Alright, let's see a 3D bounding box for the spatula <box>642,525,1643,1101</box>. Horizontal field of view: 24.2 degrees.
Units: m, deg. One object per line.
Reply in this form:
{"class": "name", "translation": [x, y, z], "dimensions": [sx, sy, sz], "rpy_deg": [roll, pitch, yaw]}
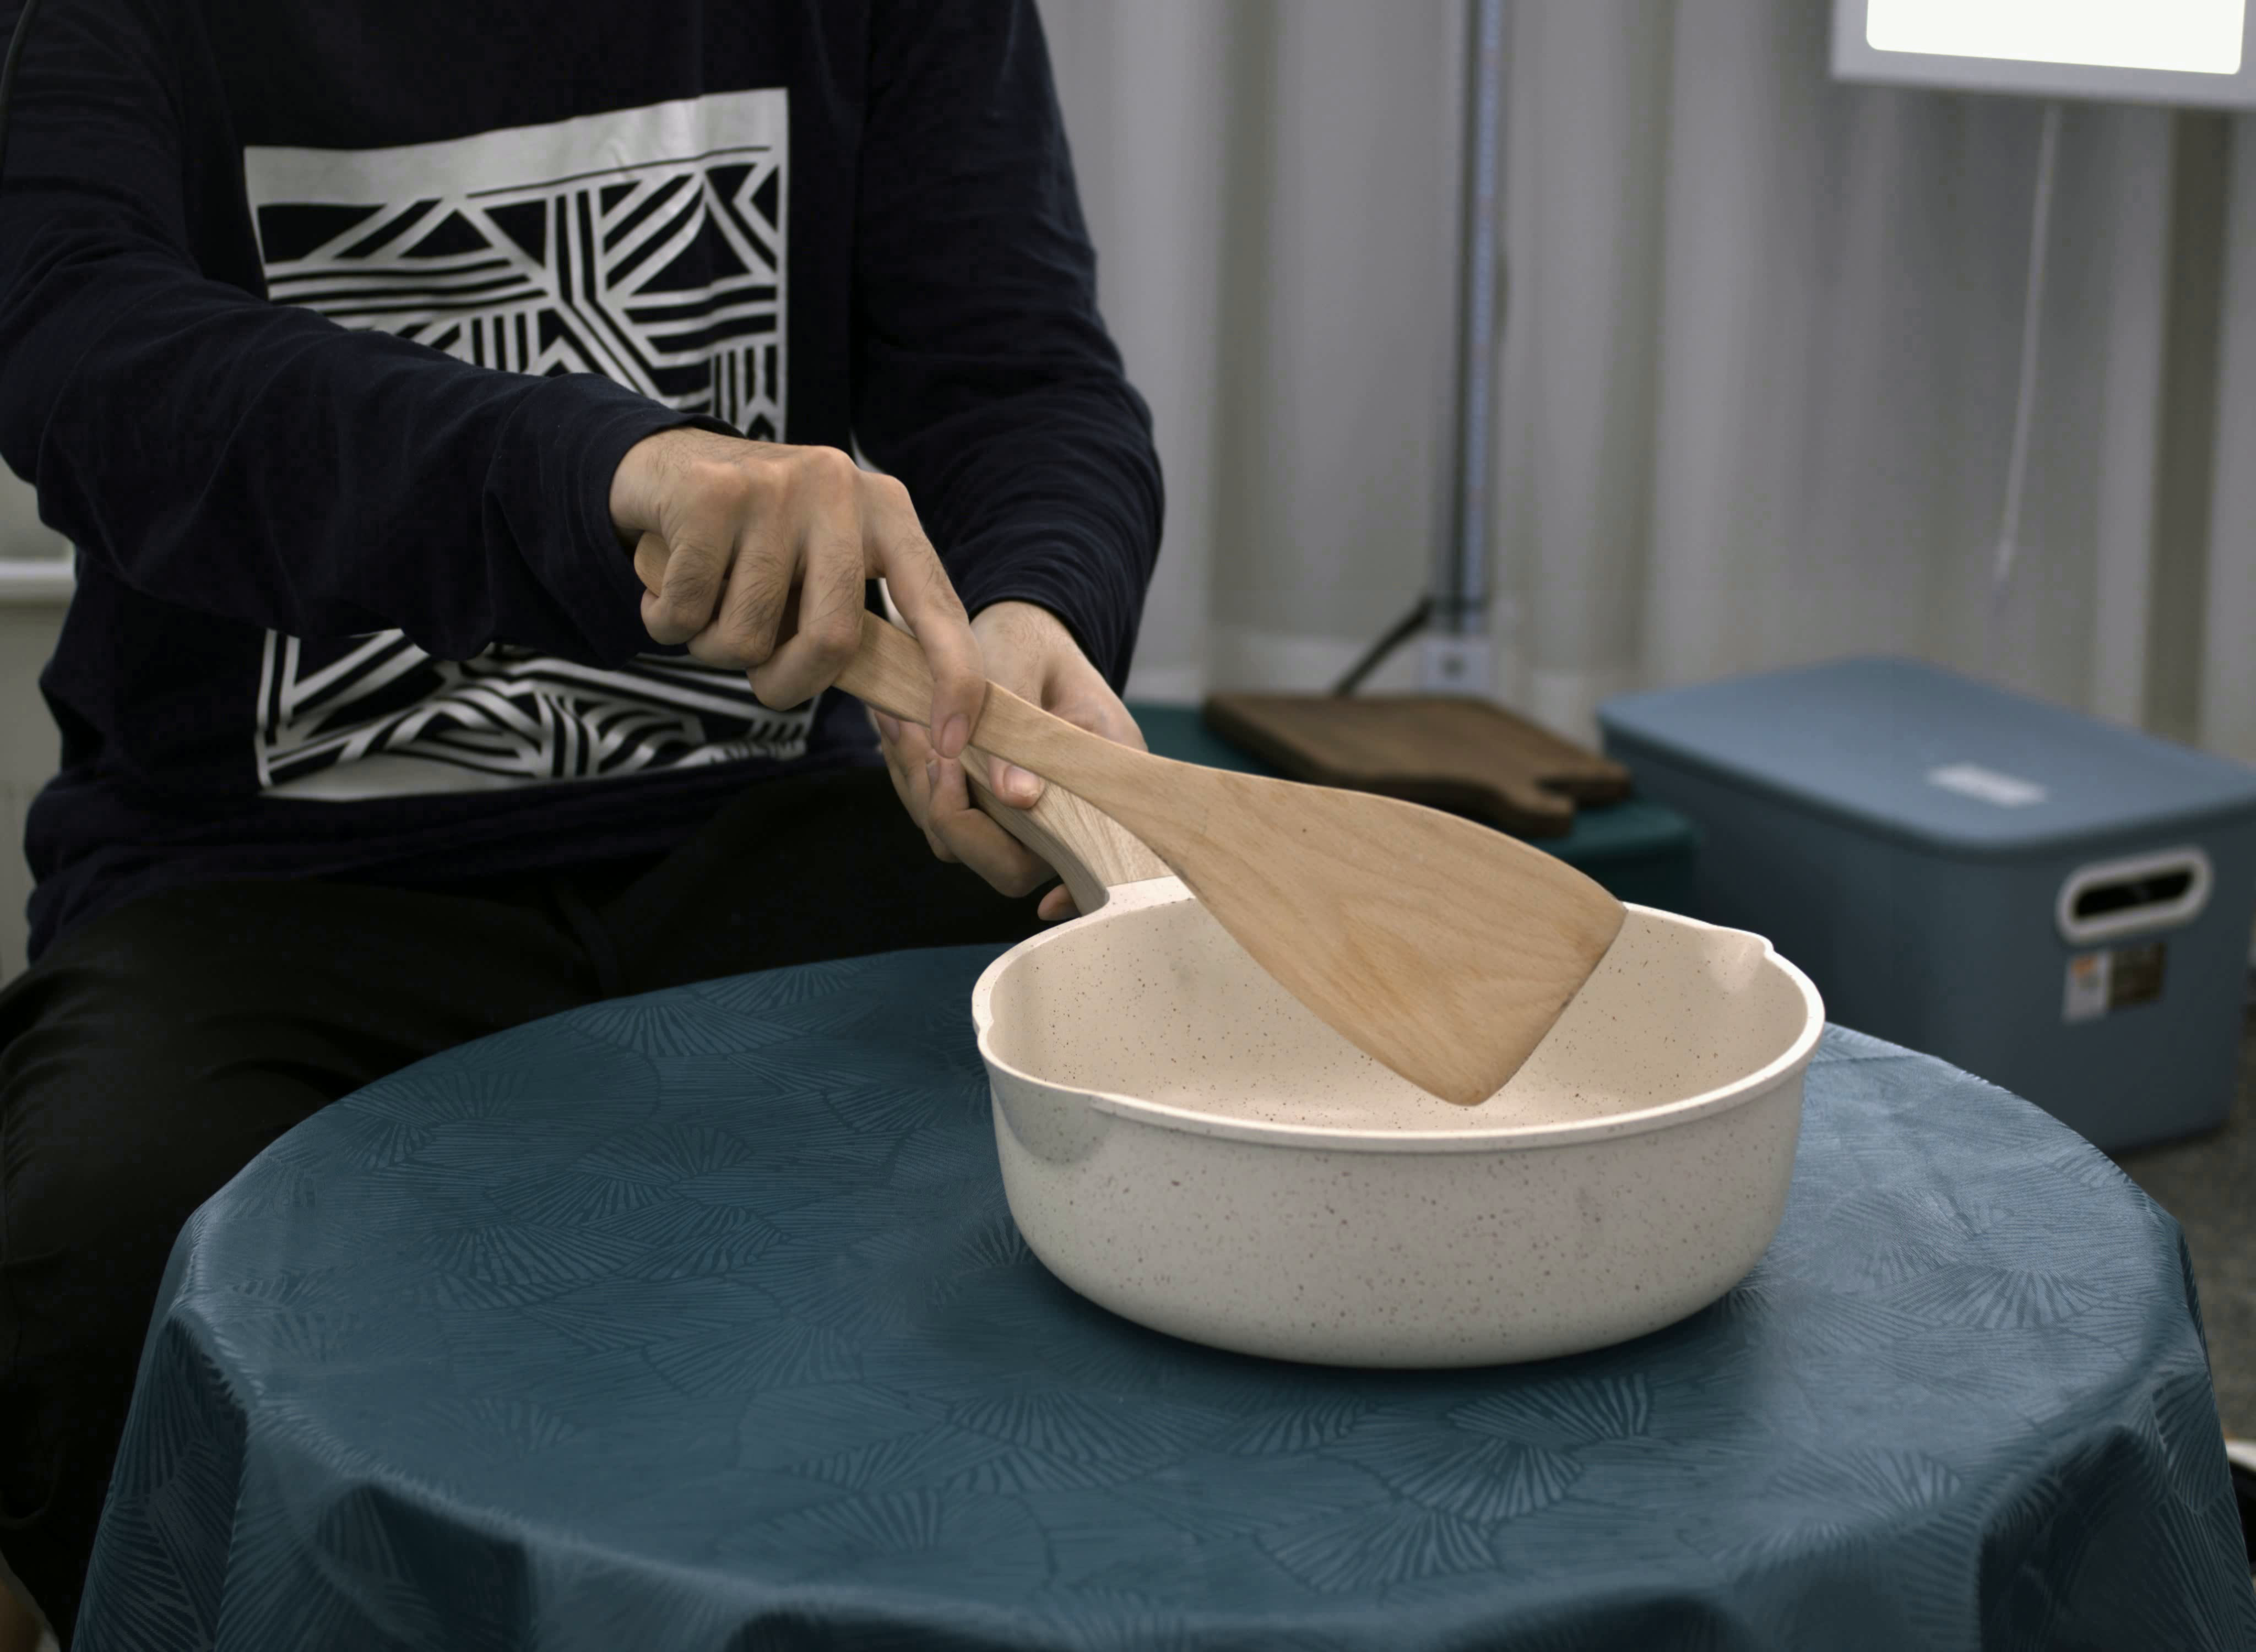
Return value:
{"class": "spatula", "translation": [-0.006, -0.015, 1.569], "dimensions": [0.324, 0.080, 0.016], "rpy_deg": [26, 3, 16]}

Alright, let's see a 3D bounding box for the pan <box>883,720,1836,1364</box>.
{"class": "pan", "translation": [0.037, 0.061, 1.638], "dimensions": [0.264, 0.103, 0.429], "rpy_deg": [-9, 18, -29]}
